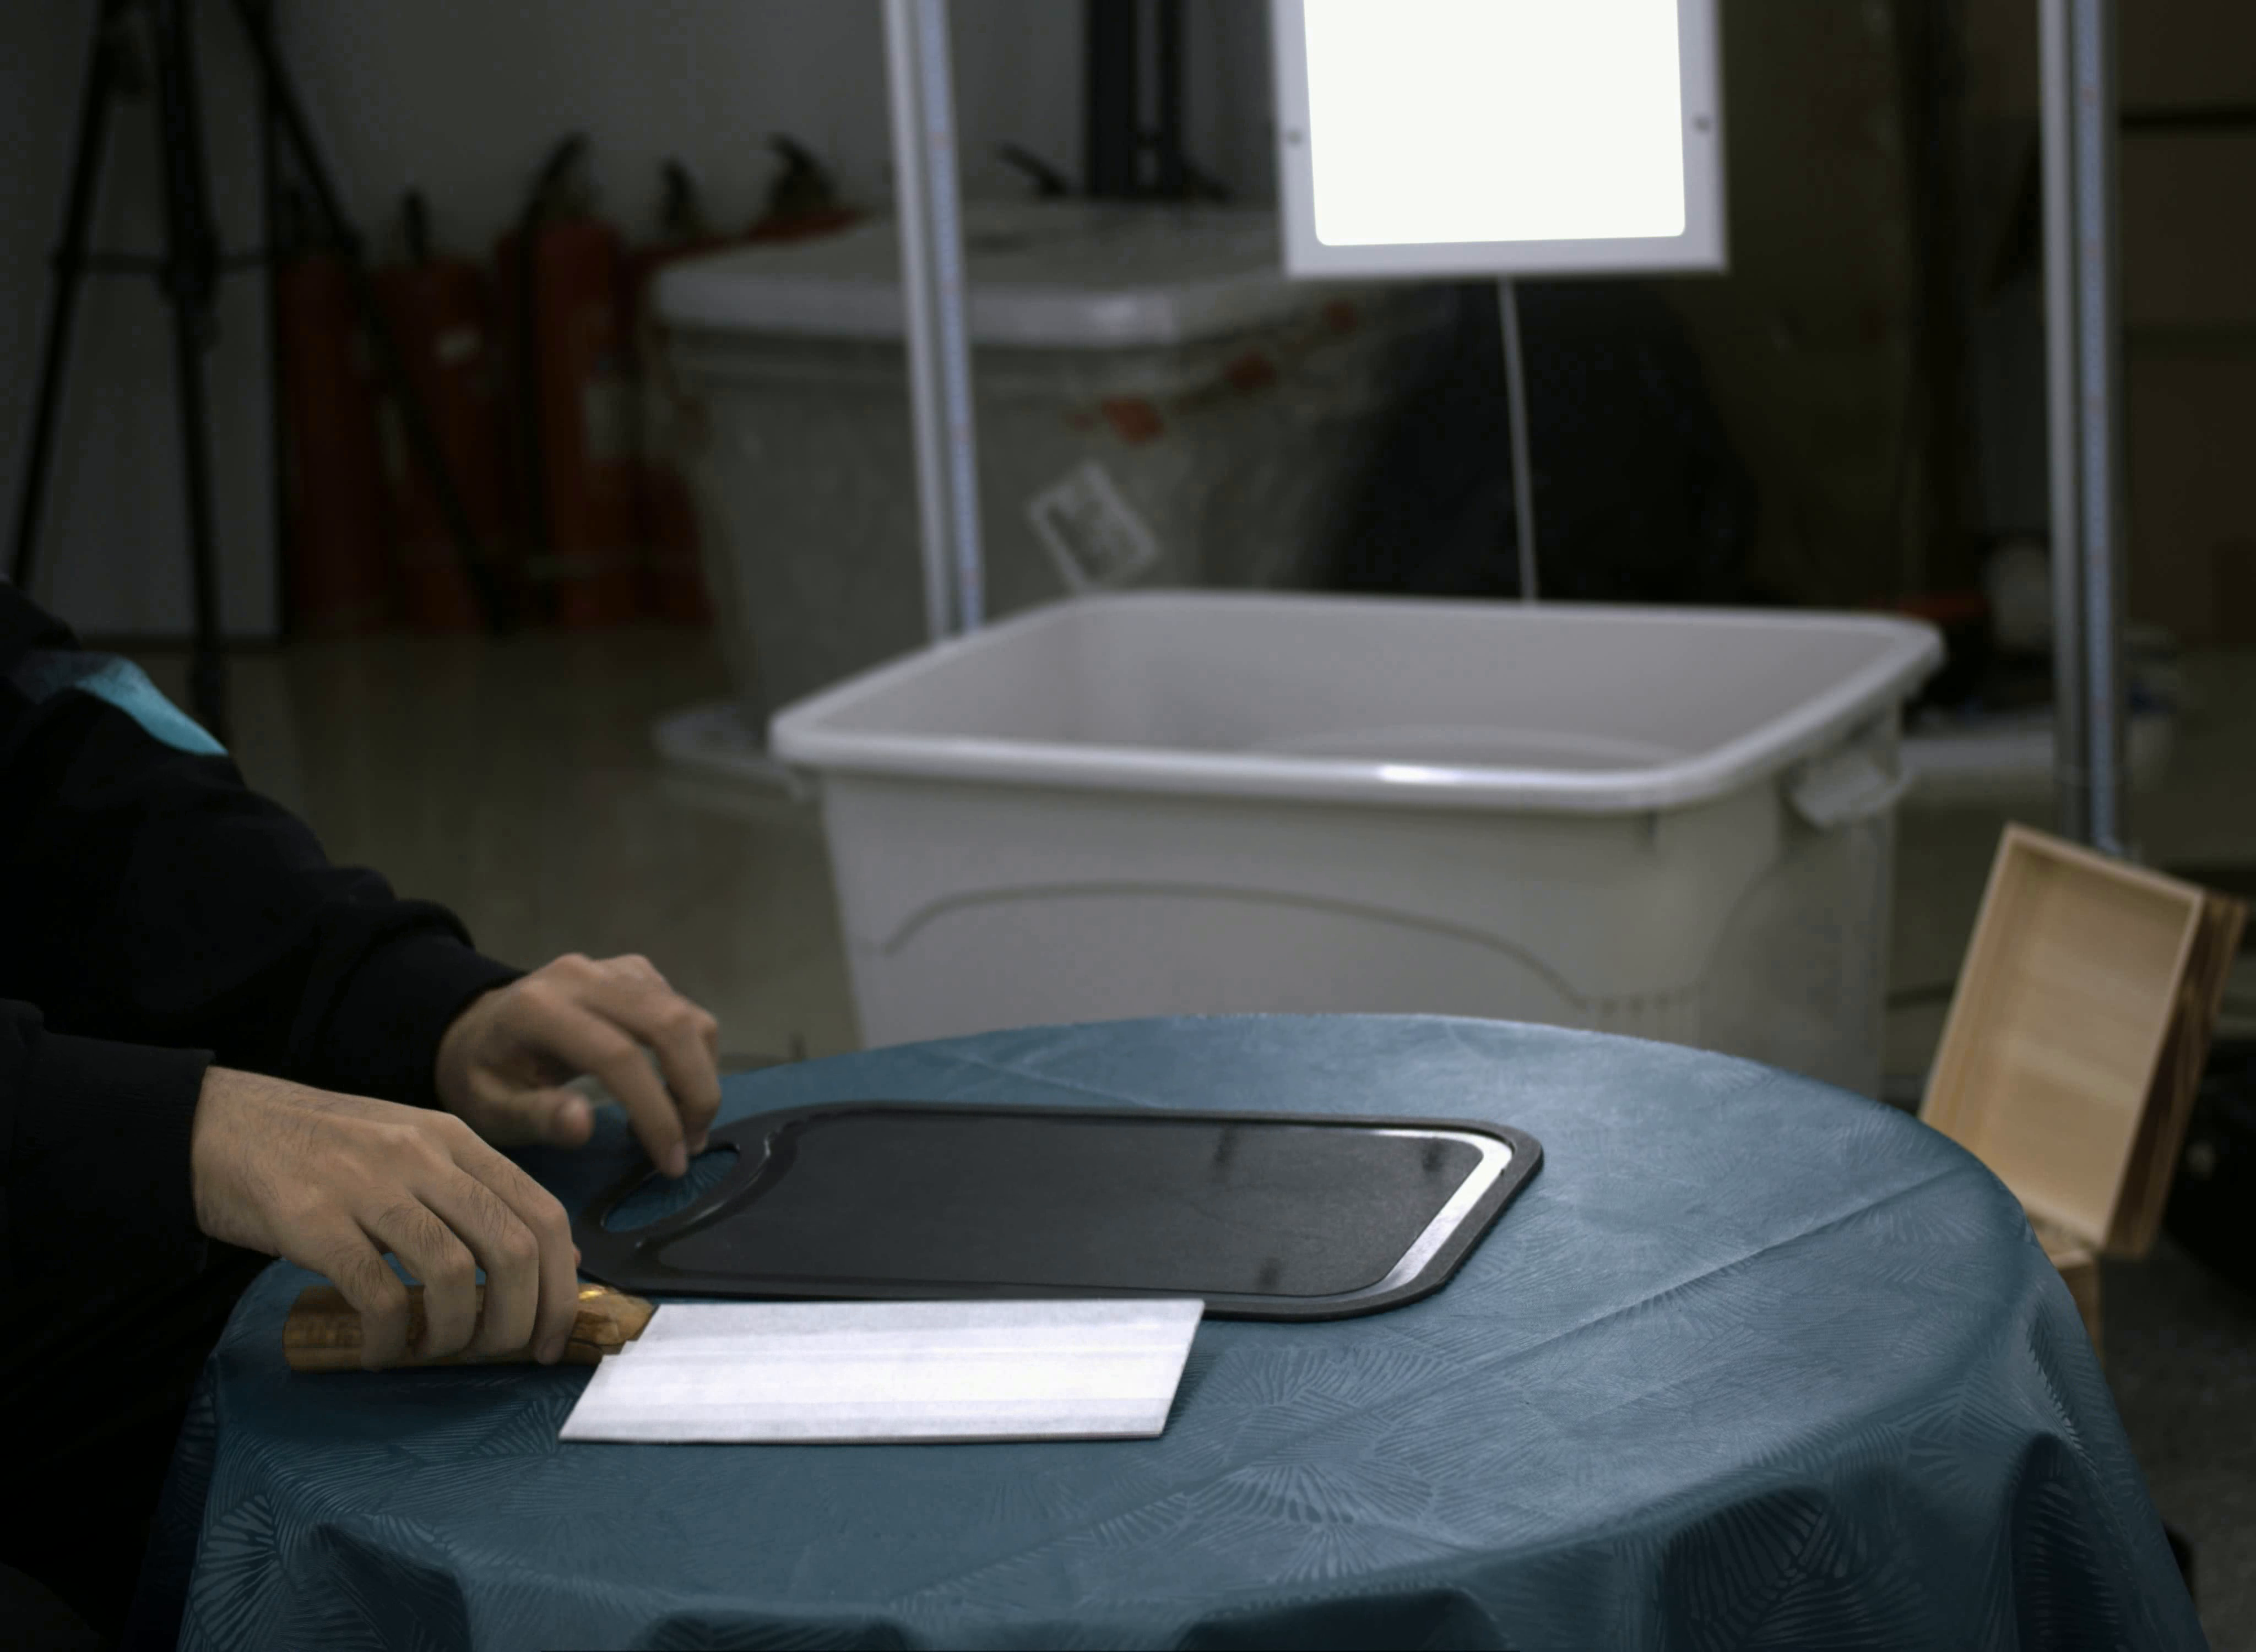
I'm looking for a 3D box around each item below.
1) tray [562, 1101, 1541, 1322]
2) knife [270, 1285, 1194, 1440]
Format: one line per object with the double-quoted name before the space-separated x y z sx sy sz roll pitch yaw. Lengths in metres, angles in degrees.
"tray" -0.032 0.128 1.887 0.330 0.010 0.207 1 15 21
"knife" -0.131 0.170 1.733 0.308 0.021 0.092 -1 20 13
